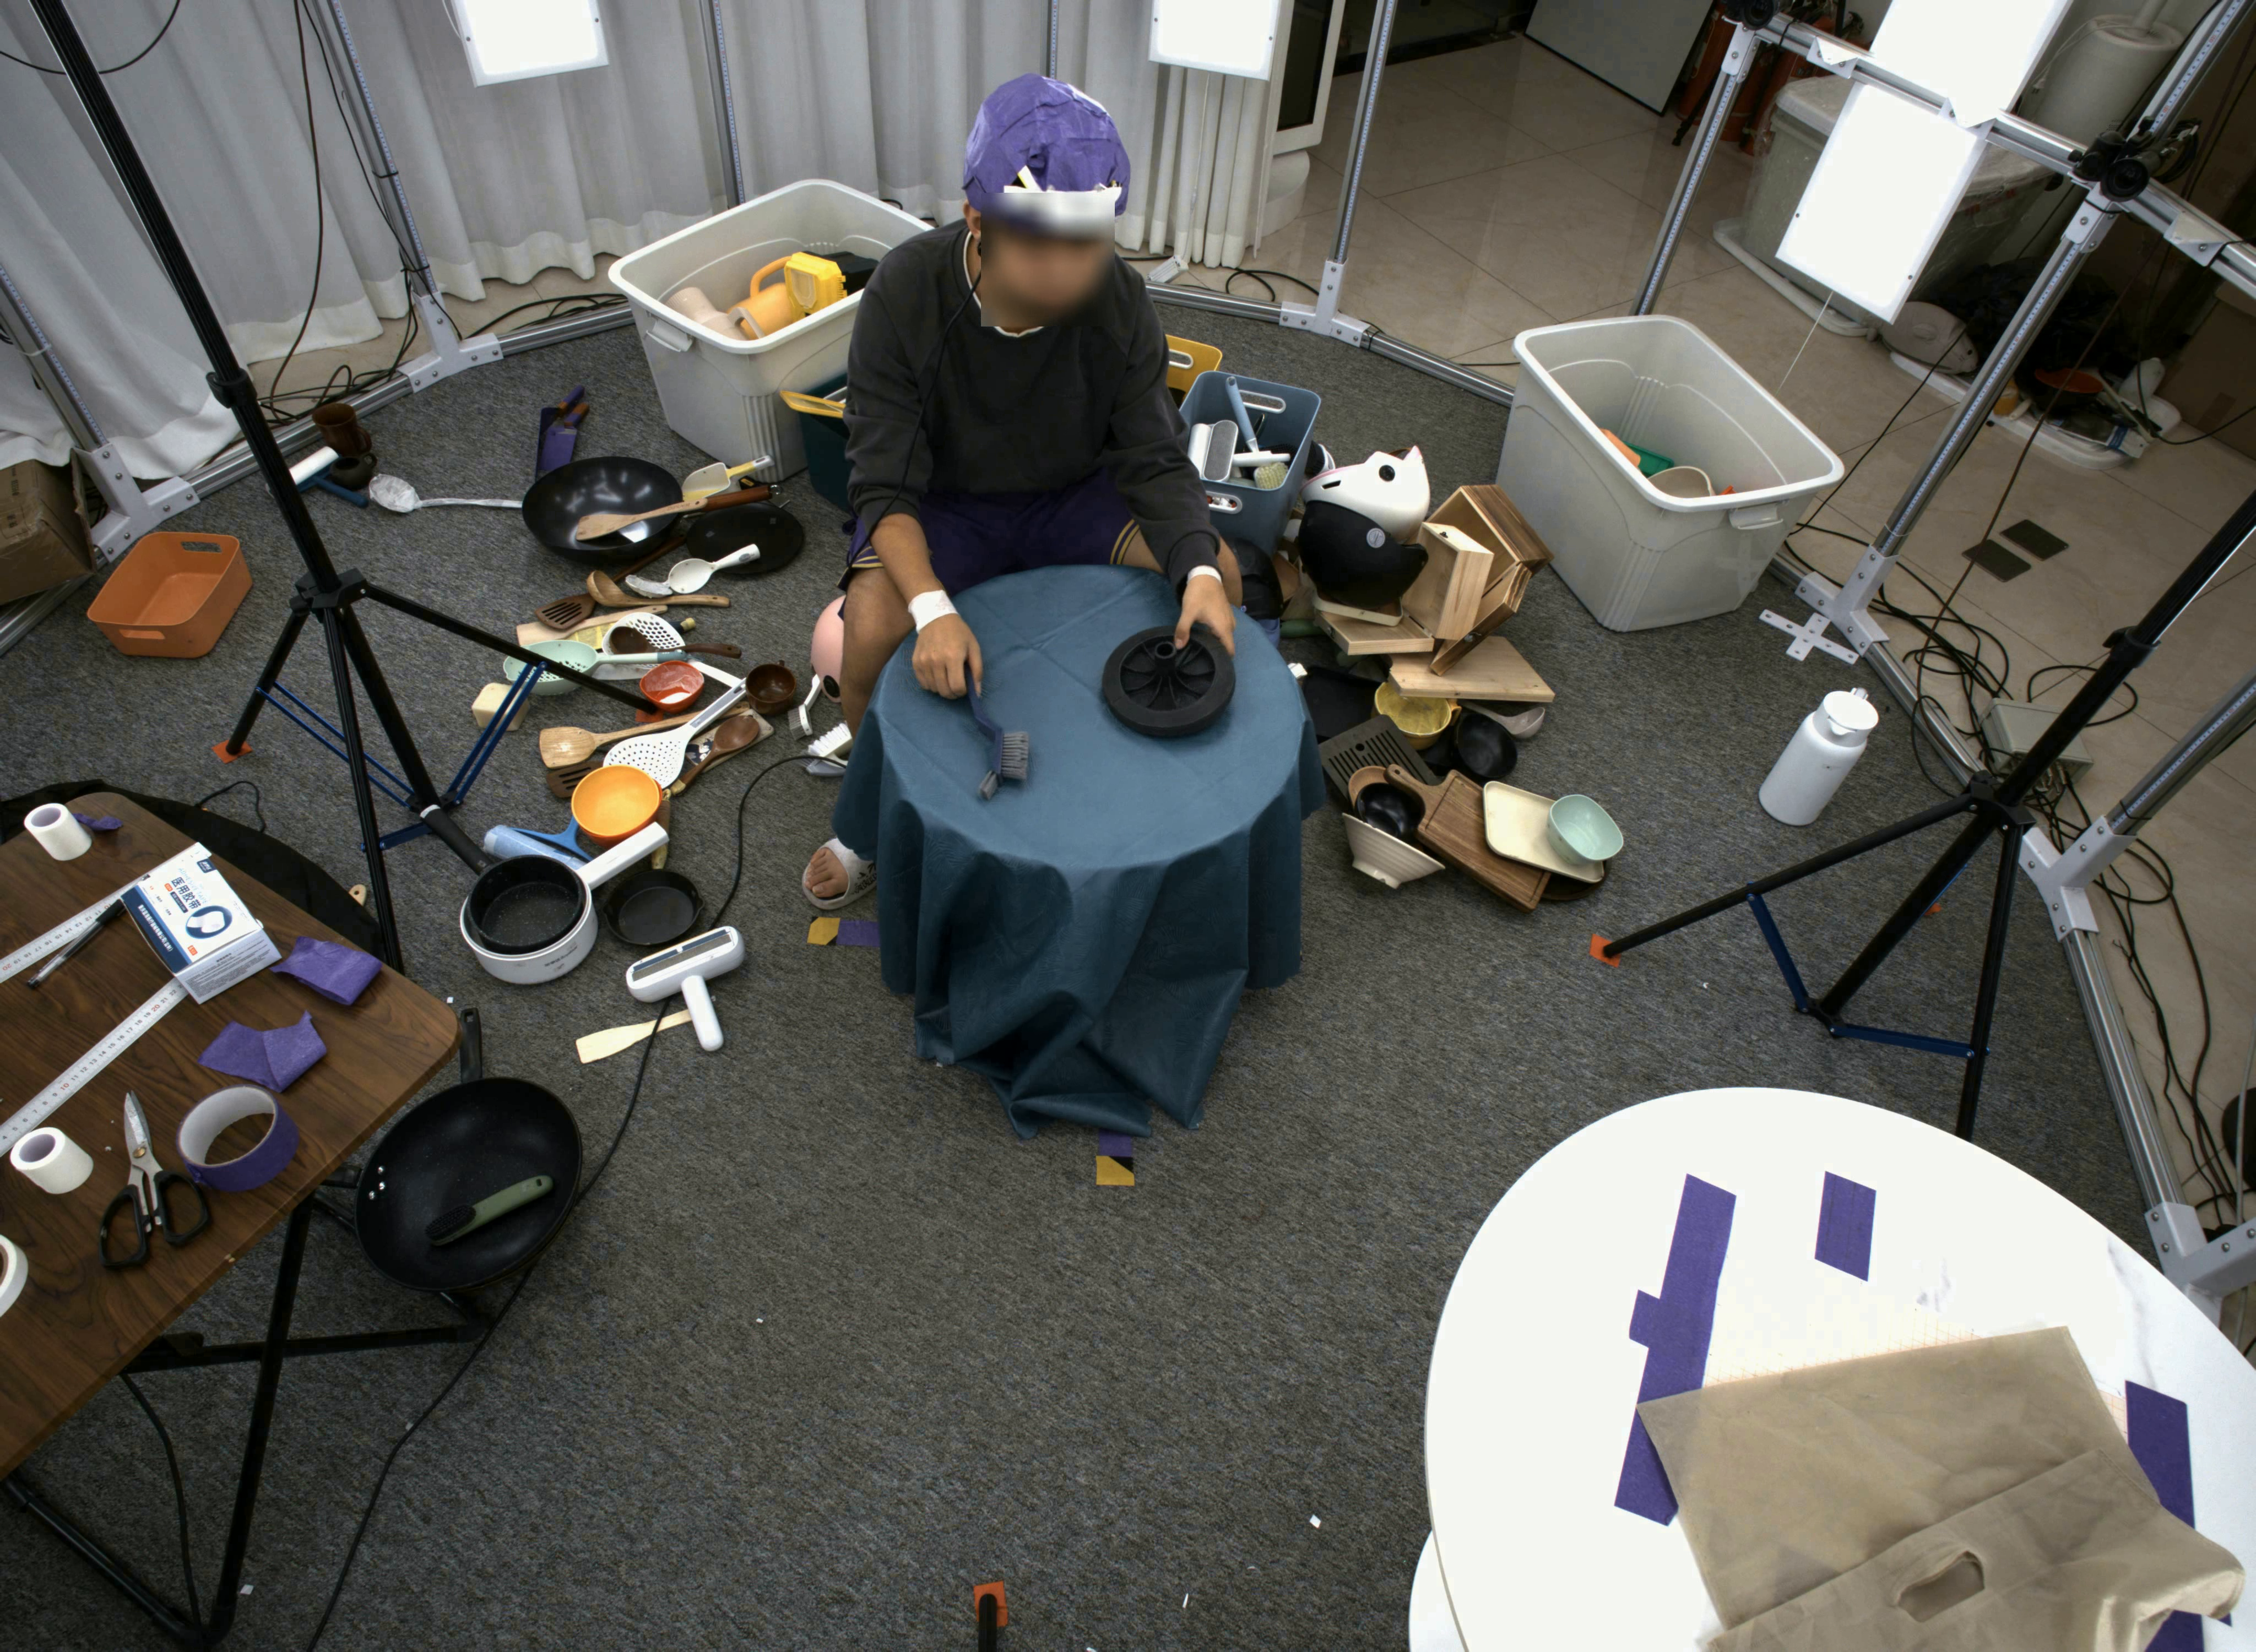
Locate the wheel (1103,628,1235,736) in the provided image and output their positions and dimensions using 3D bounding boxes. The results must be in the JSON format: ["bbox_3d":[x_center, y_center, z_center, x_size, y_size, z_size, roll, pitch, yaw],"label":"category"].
[{"bbox_3d":[0.056,-0.218,1.799,0.187,0.077,0.194,1,54,8],"label":"wheel"}]

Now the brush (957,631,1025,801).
[{"bbox_3d":[-0.212,-0.157,1.762,0.096,0.033,0.279,-24,55,-7],"label":"brush"}]
